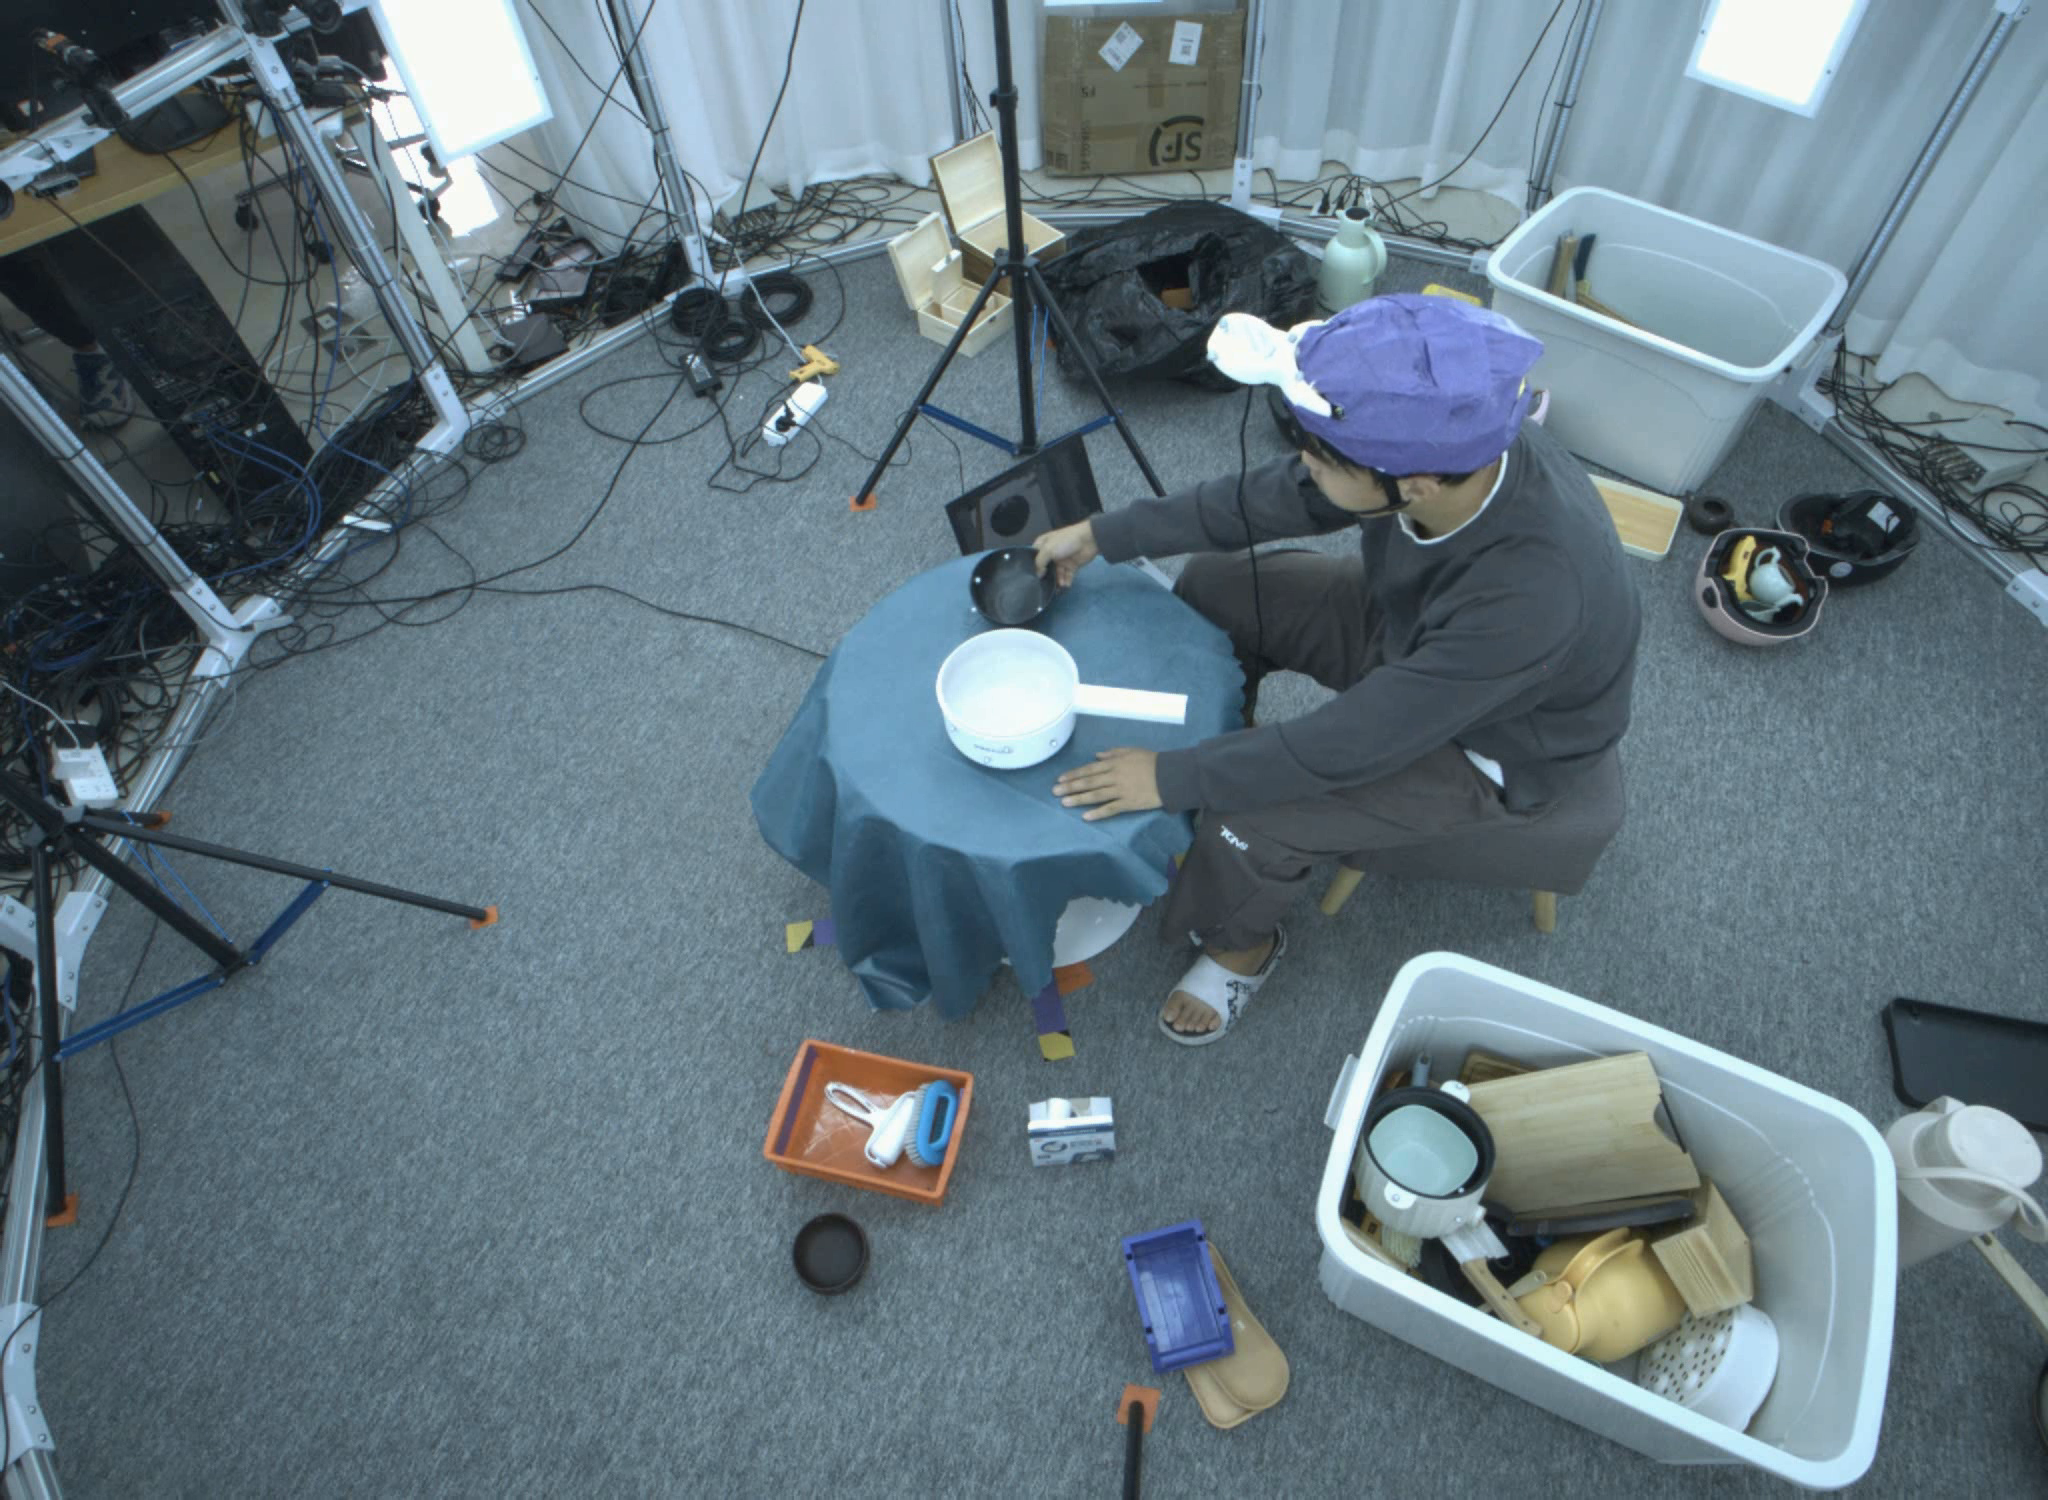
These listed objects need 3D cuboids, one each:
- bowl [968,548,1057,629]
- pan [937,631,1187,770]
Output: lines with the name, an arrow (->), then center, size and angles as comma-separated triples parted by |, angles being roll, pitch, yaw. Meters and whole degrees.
bowl -> -0.016, -0.245, 1.920 | 0.137, 0.067, 0.169 | 3, 55, 4
pan -> 0.054, -0.056, 1.772 | 0.353, 0.103, 0.200 | 8, 54, 5
